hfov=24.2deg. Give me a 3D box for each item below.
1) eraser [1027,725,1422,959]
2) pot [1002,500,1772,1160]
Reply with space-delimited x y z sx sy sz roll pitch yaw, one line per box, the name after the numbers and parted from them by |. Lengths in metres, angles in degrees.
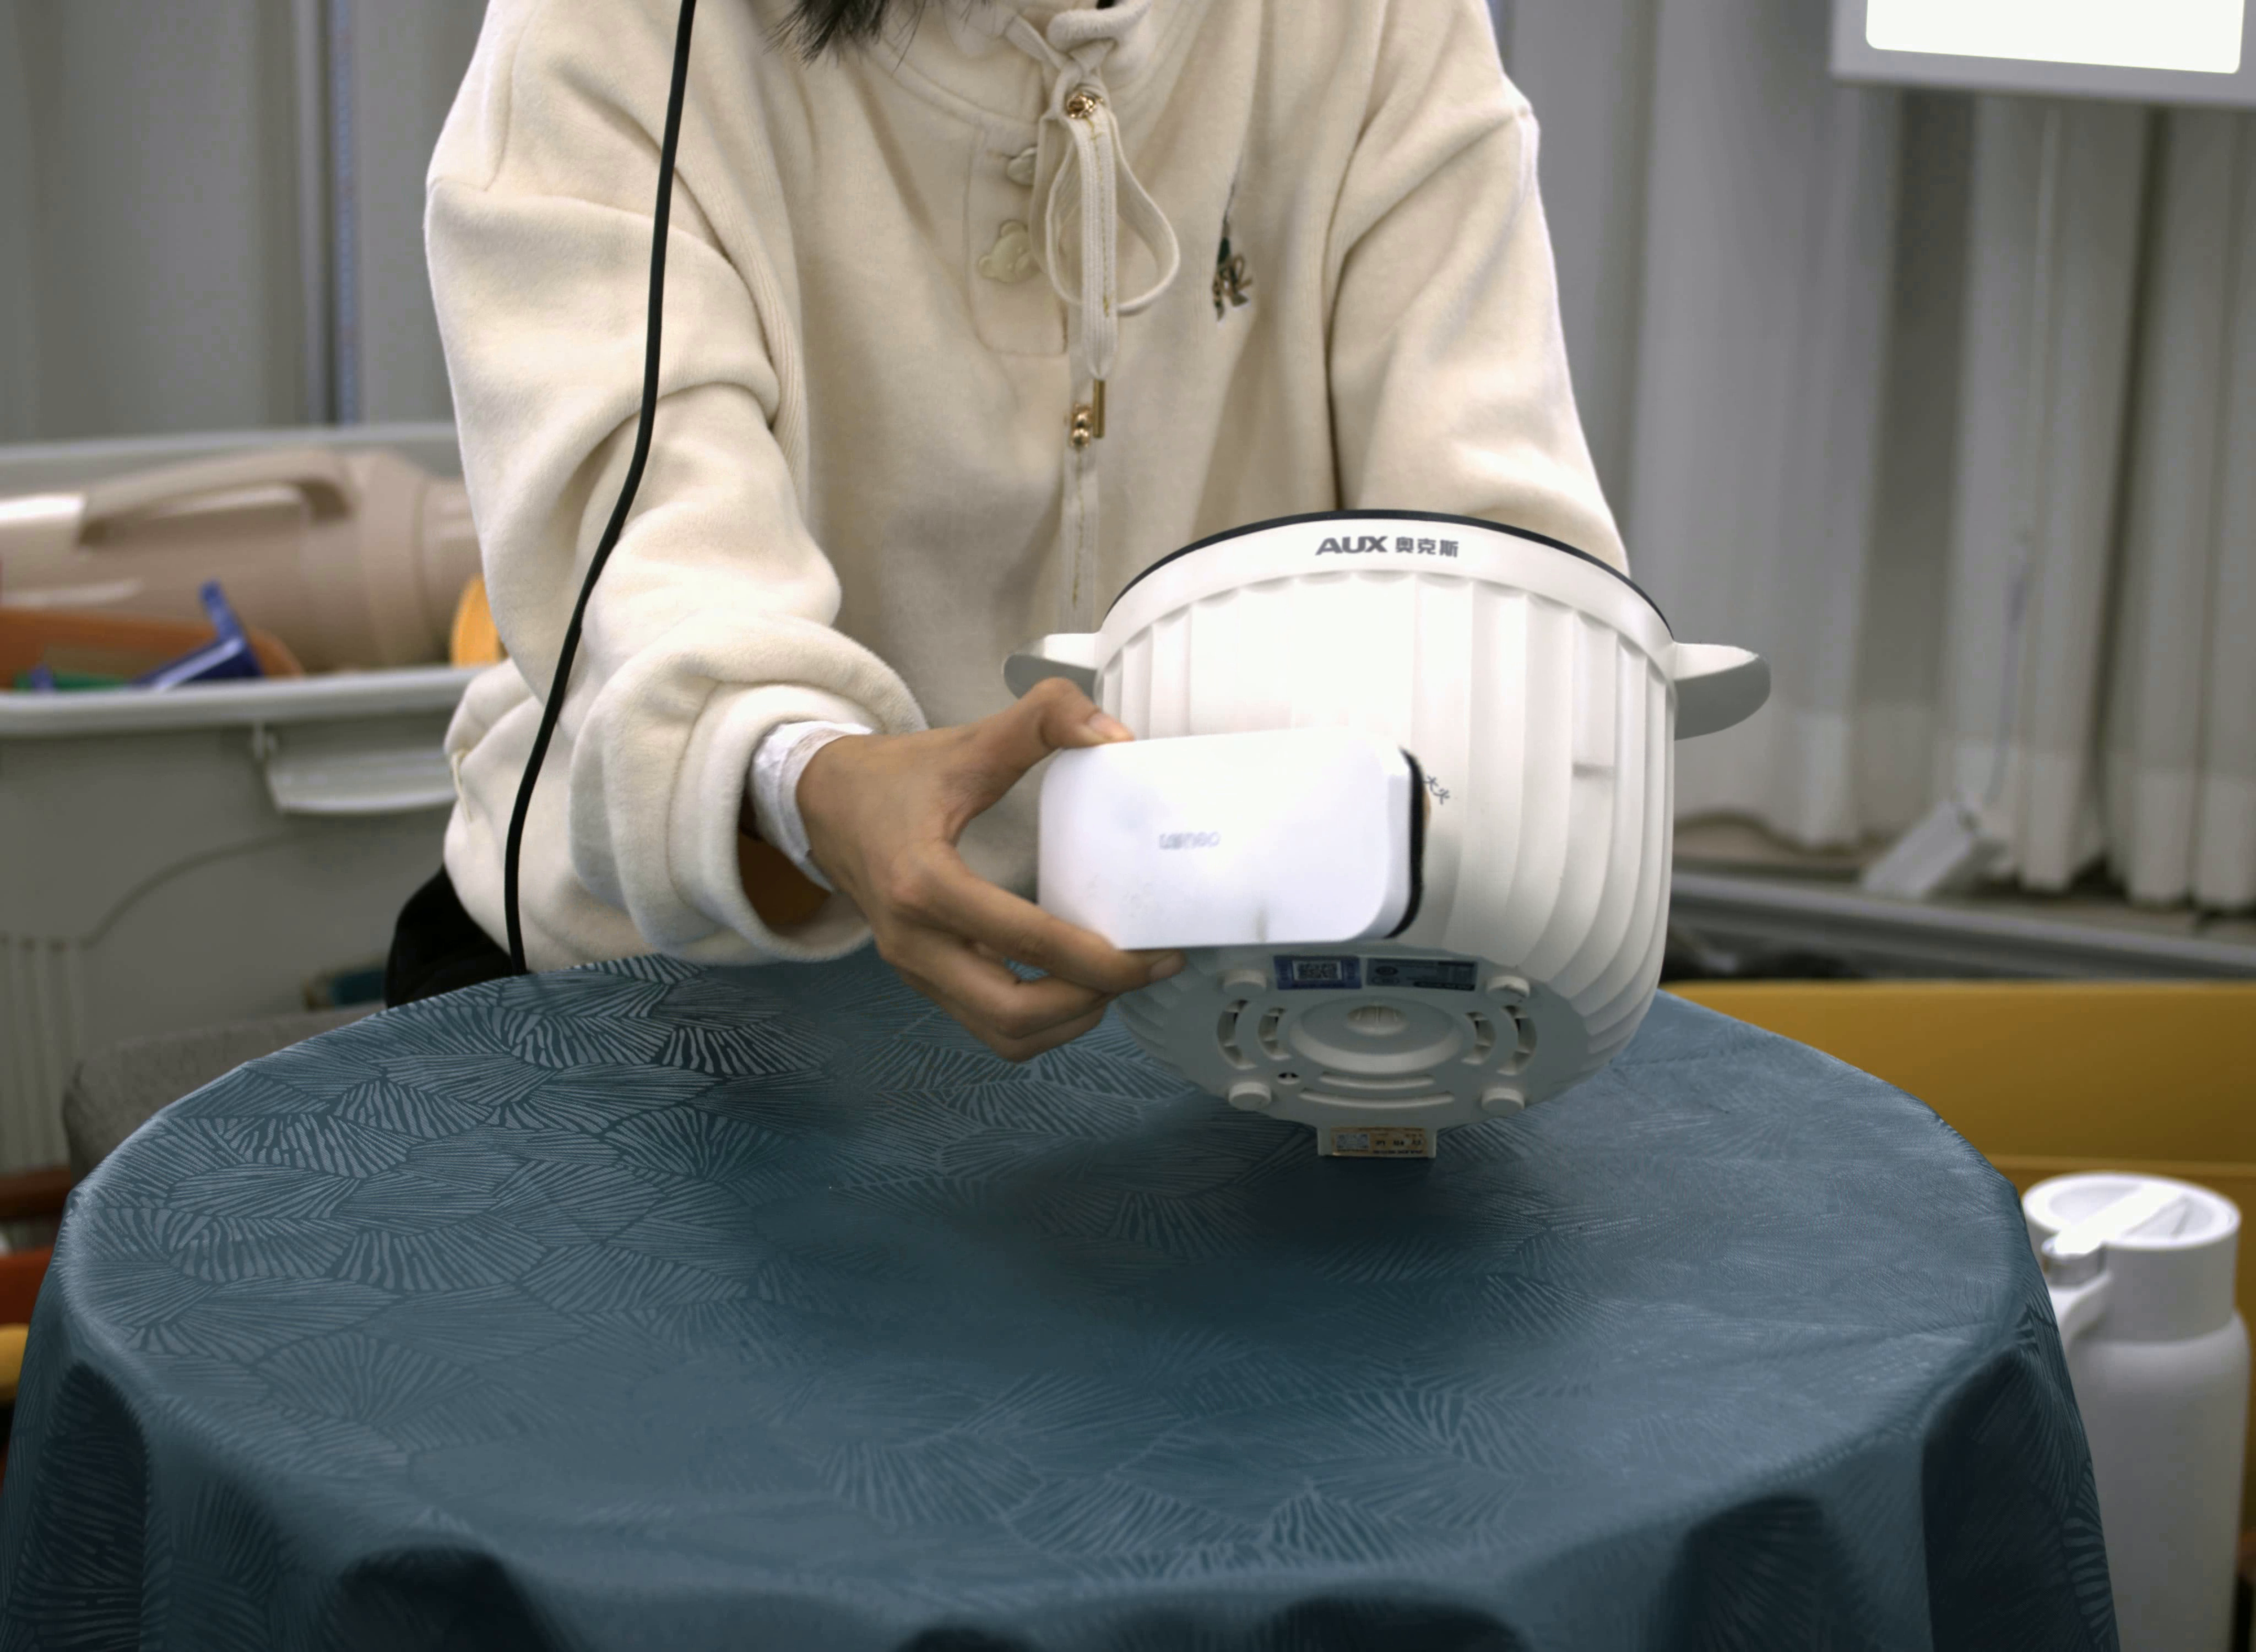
0.025 0.005 1.507 0.130 0.063 0.035 -4 -10 40 | eraser
0.078 0.003 1.603 0.239 0.192 0.141 1 59 1 | pot
